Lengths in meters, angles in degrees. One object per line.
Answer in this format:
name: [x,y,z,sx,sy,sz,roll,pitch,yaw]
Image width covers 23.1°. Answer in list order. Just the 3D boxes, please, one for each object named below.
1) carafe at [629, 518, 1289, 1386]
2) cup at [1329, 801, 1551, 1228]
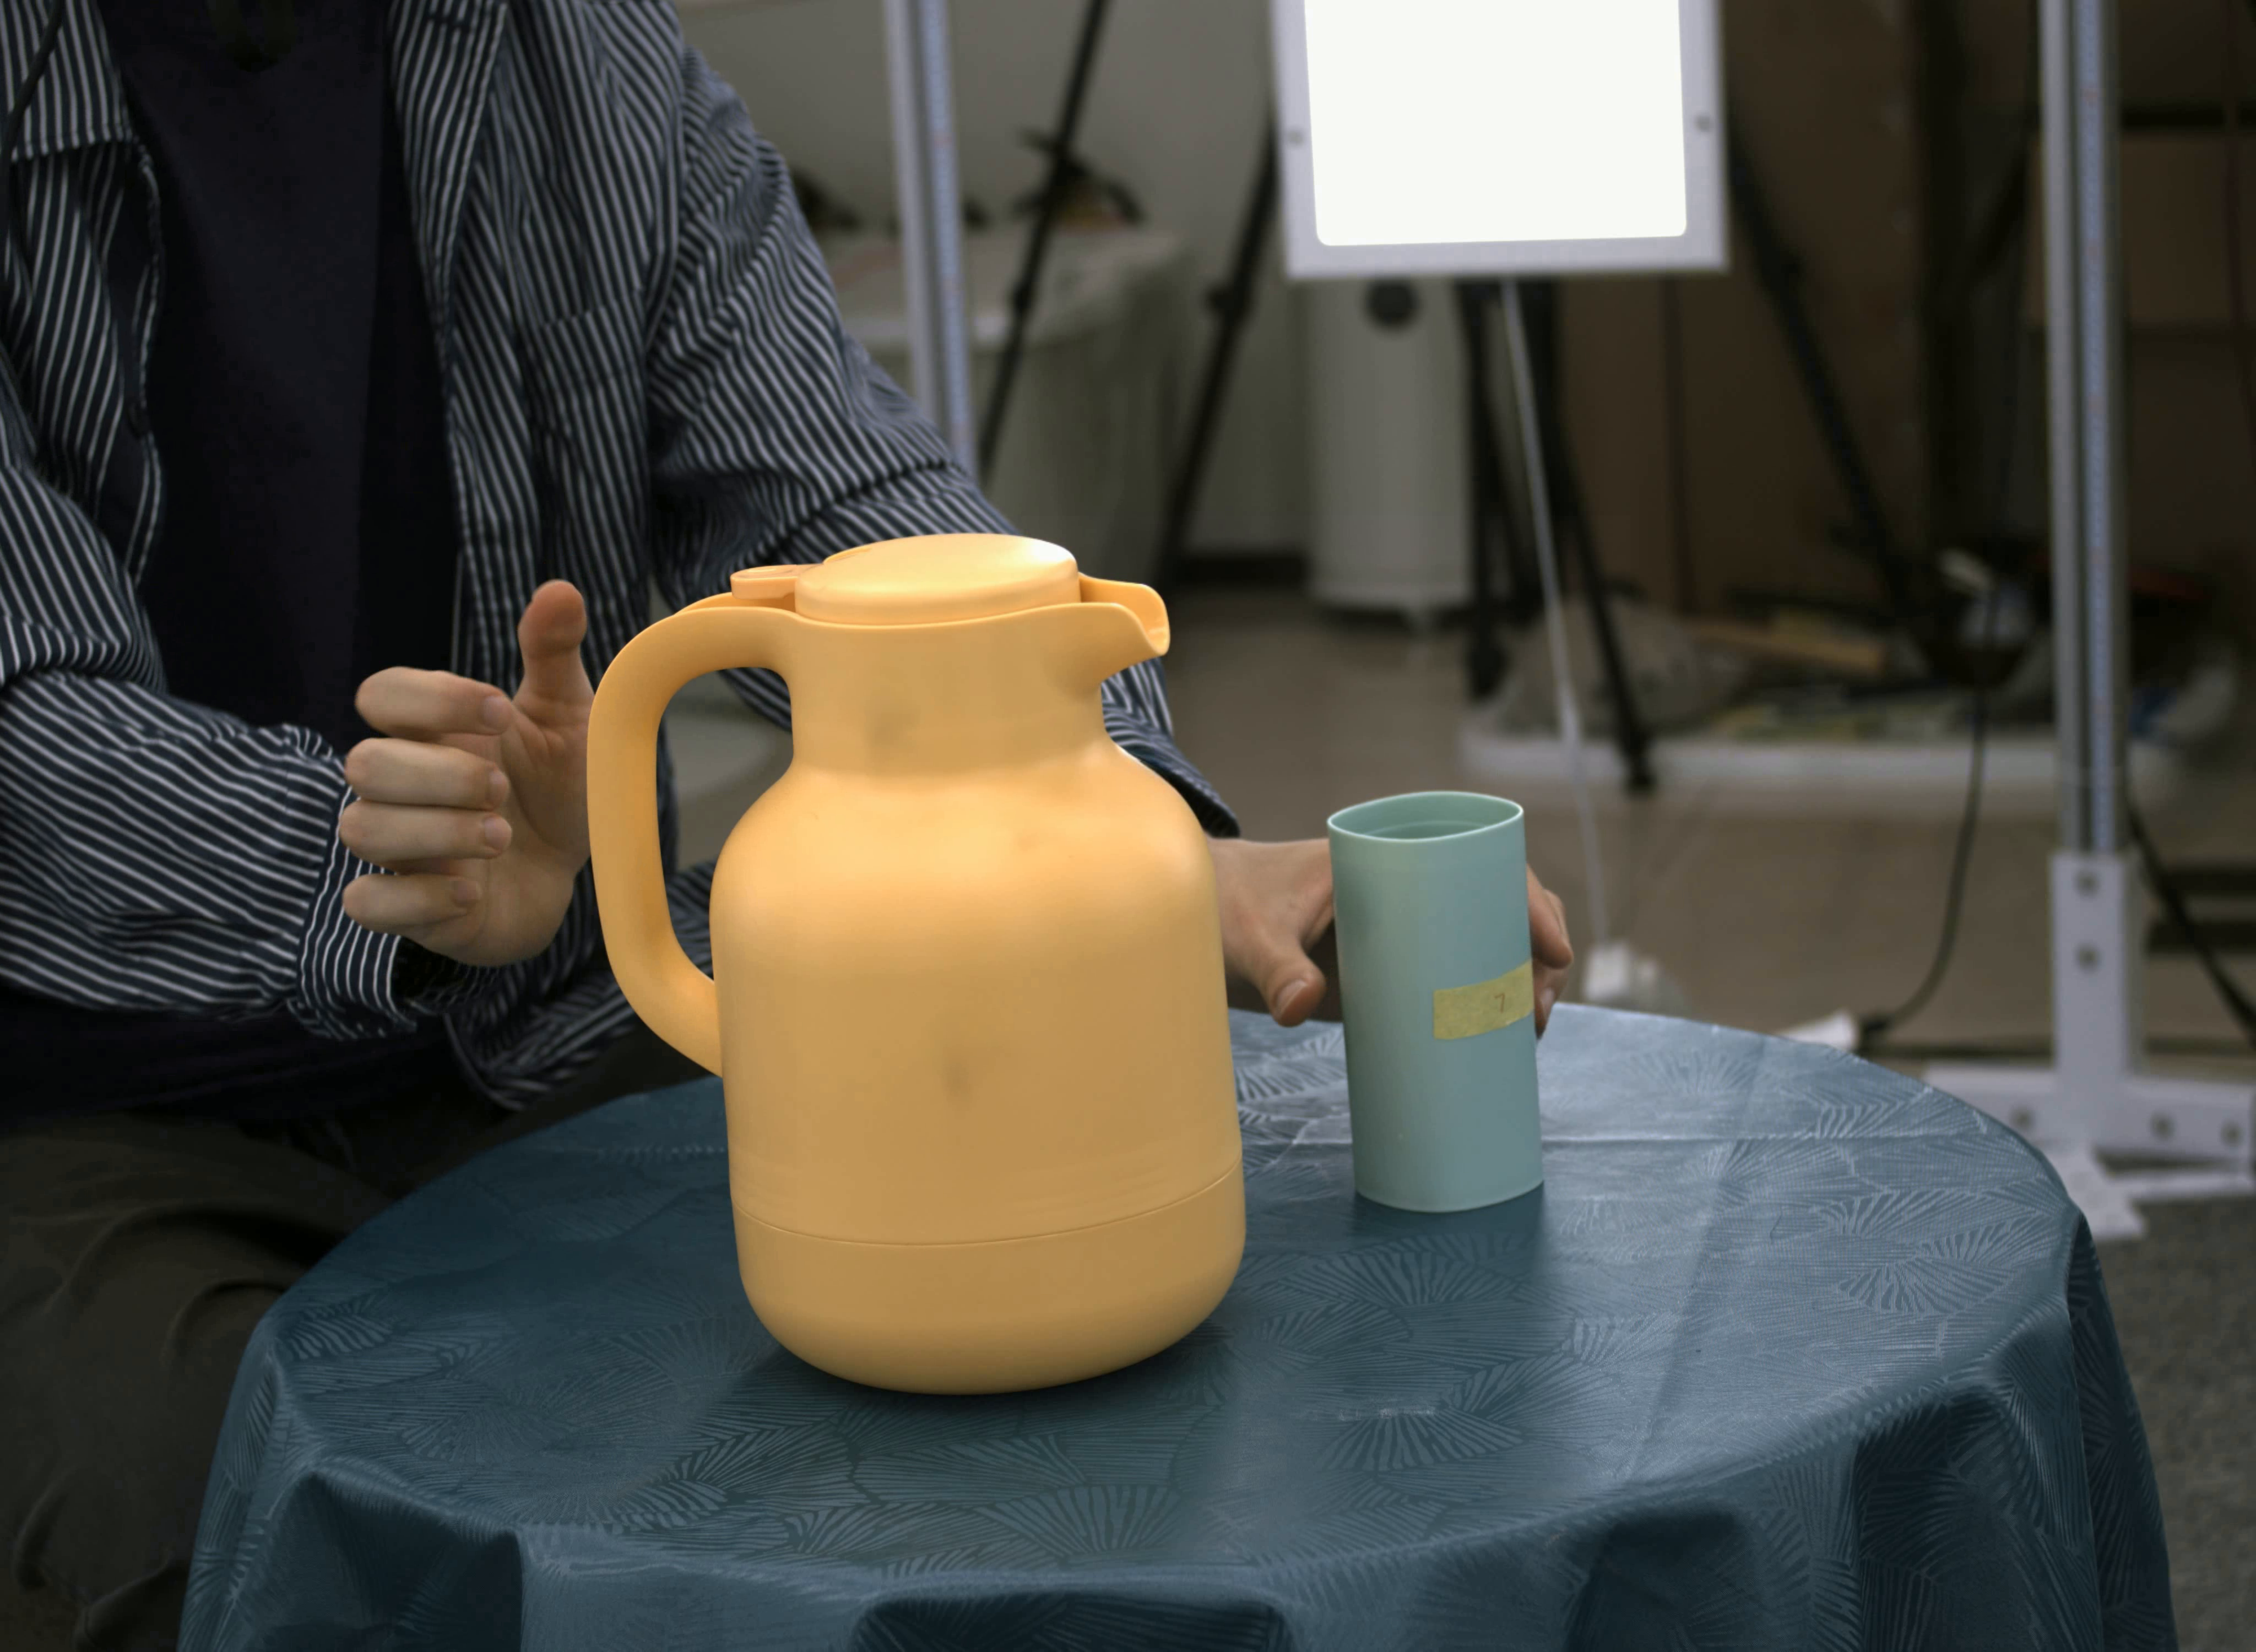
carafe: [-0.054,0.035,1.738,0.205,0.261,0.161,0,13,19]
cup: [0.106,0.063,1.857,0.066,0.133,0.066,-6,14,0]
